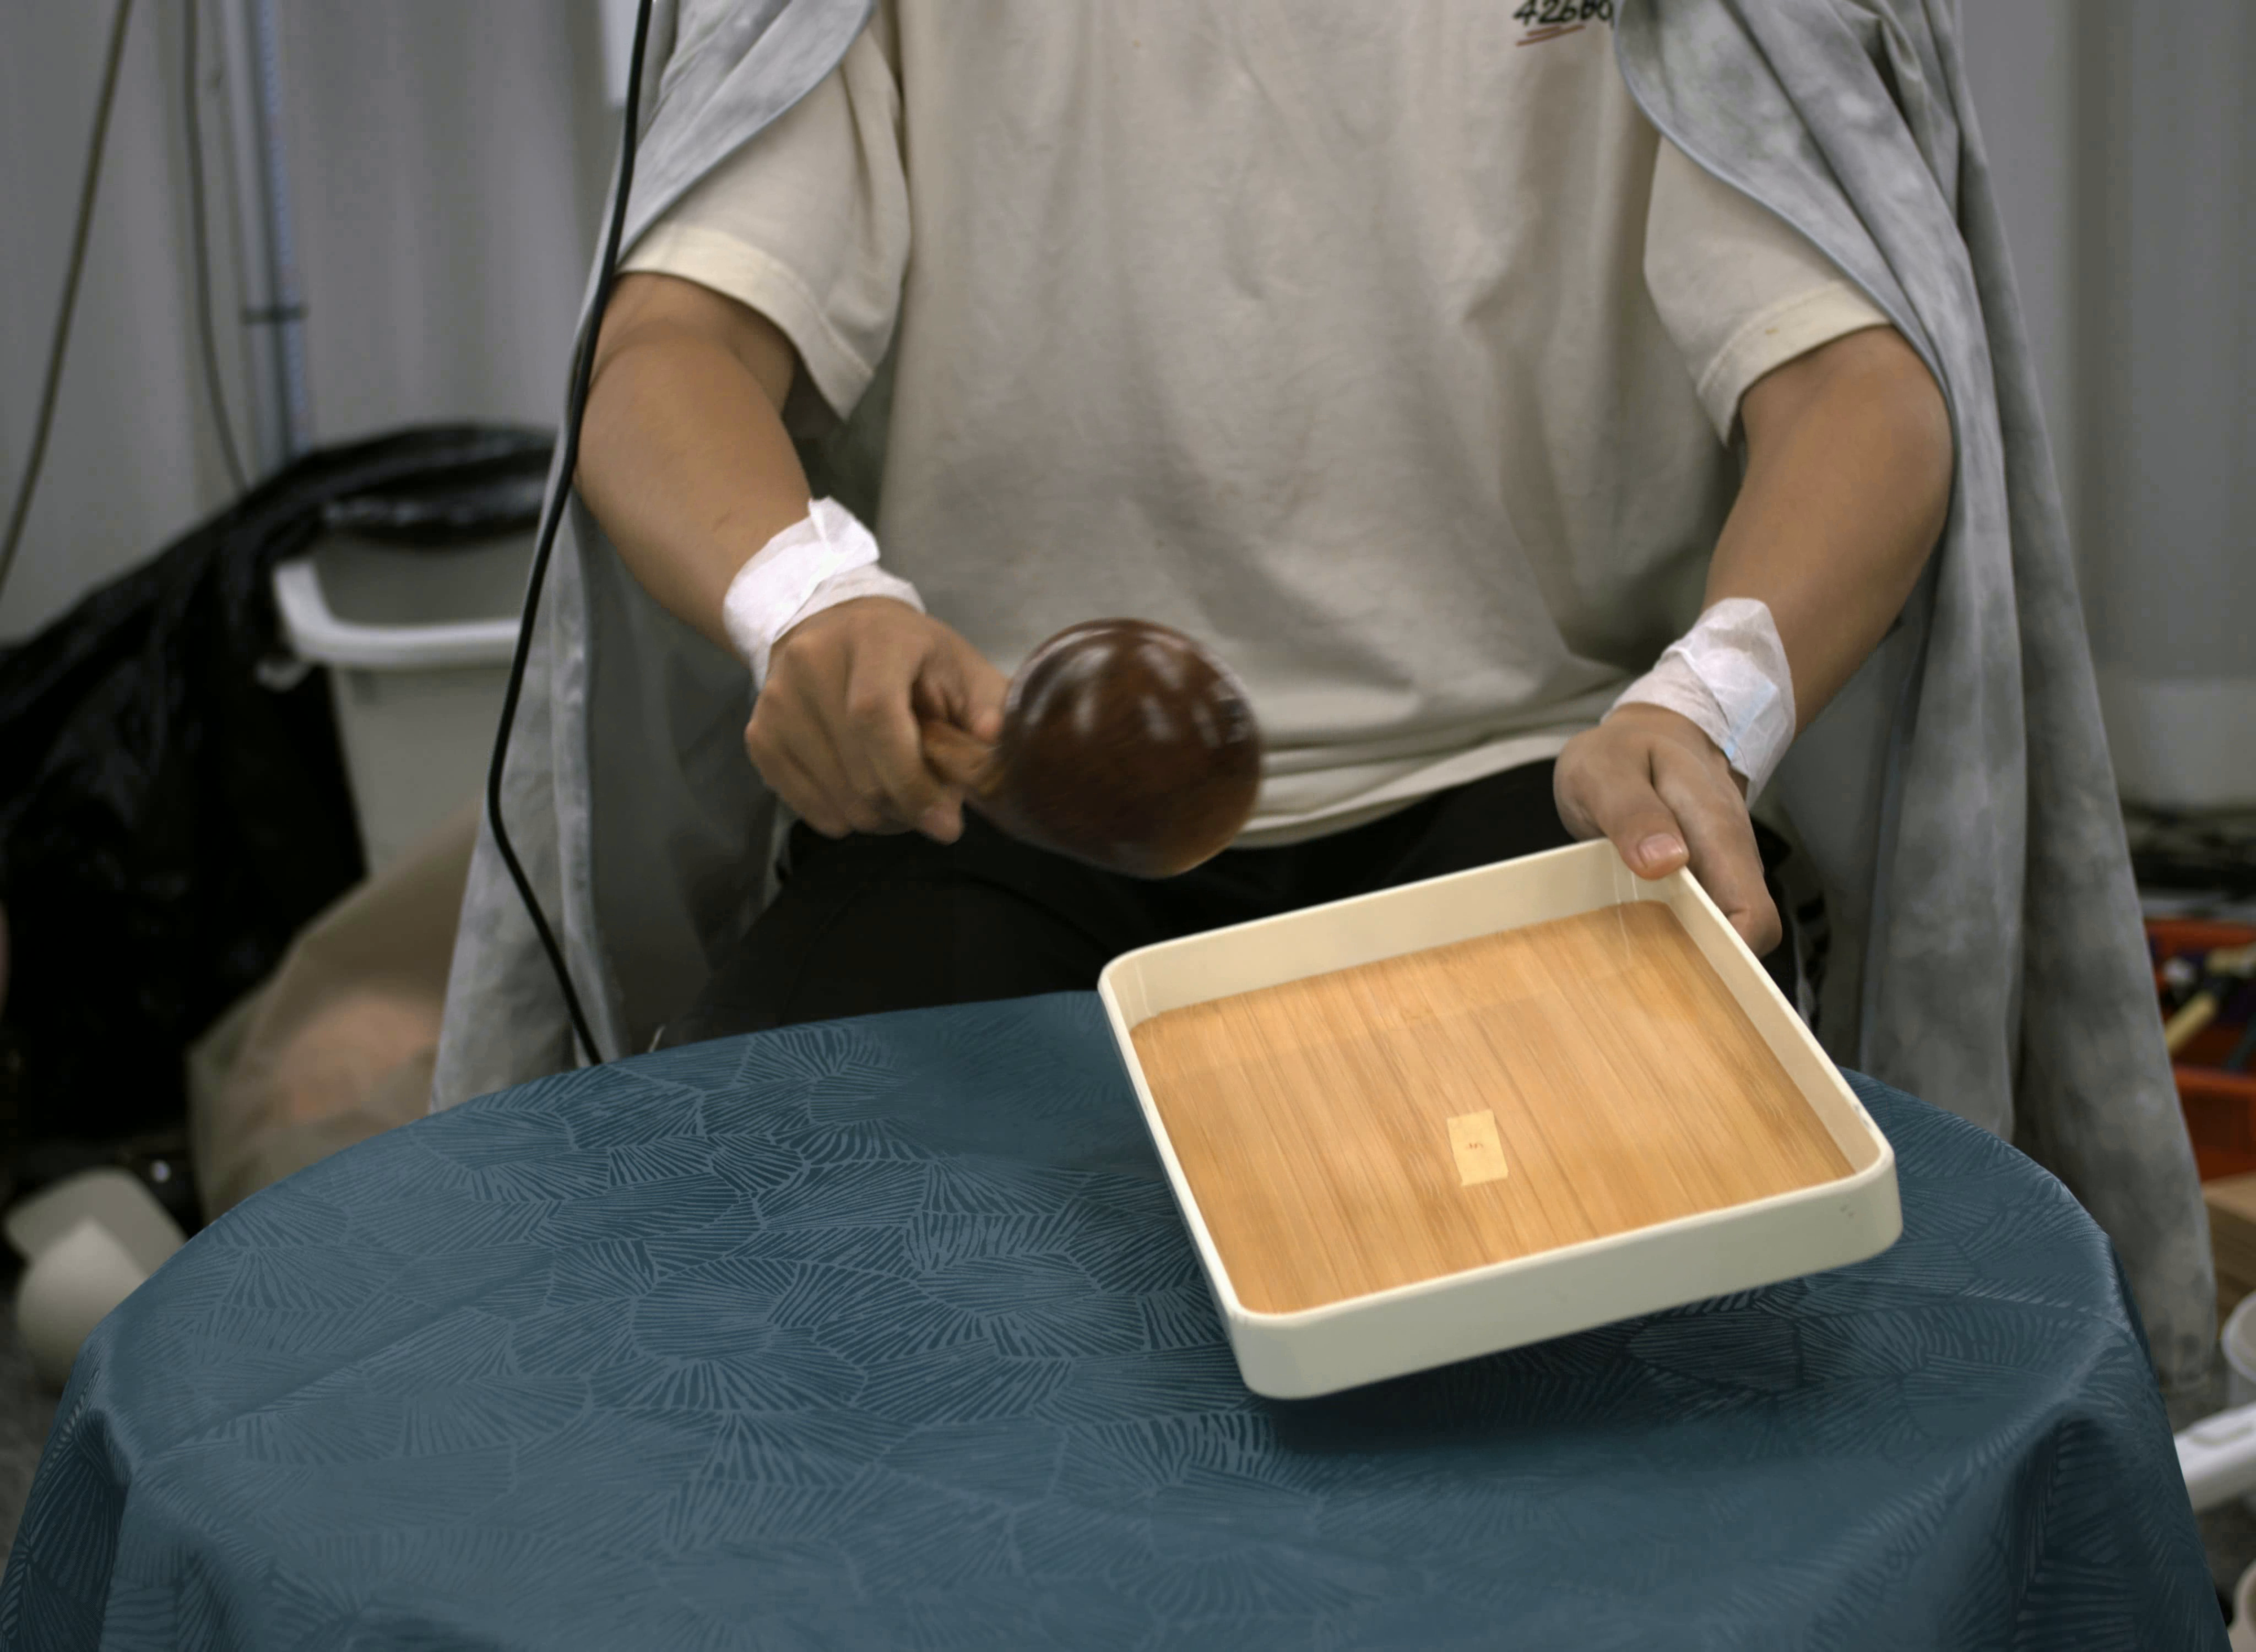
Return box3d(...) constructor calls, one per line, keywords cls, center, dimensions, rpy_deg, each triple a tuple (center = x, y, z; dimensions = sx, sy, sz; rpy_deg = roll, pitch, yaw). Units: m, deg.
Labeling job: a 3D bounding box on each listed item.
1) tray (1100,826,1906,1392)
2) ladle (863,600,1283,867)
box3d(cls="tray", center=(0.103, 0.078, 1.626), dimensions=(0.191, 0.027, 0.303), rpy_deg=(-14, 20, -4))
box3d(cls="ladle", center=(-0.022, -0.032, 1.715), dimensions=(0.076, 0.082, 0.275), rpy_deg=(-26, 9, -11))
